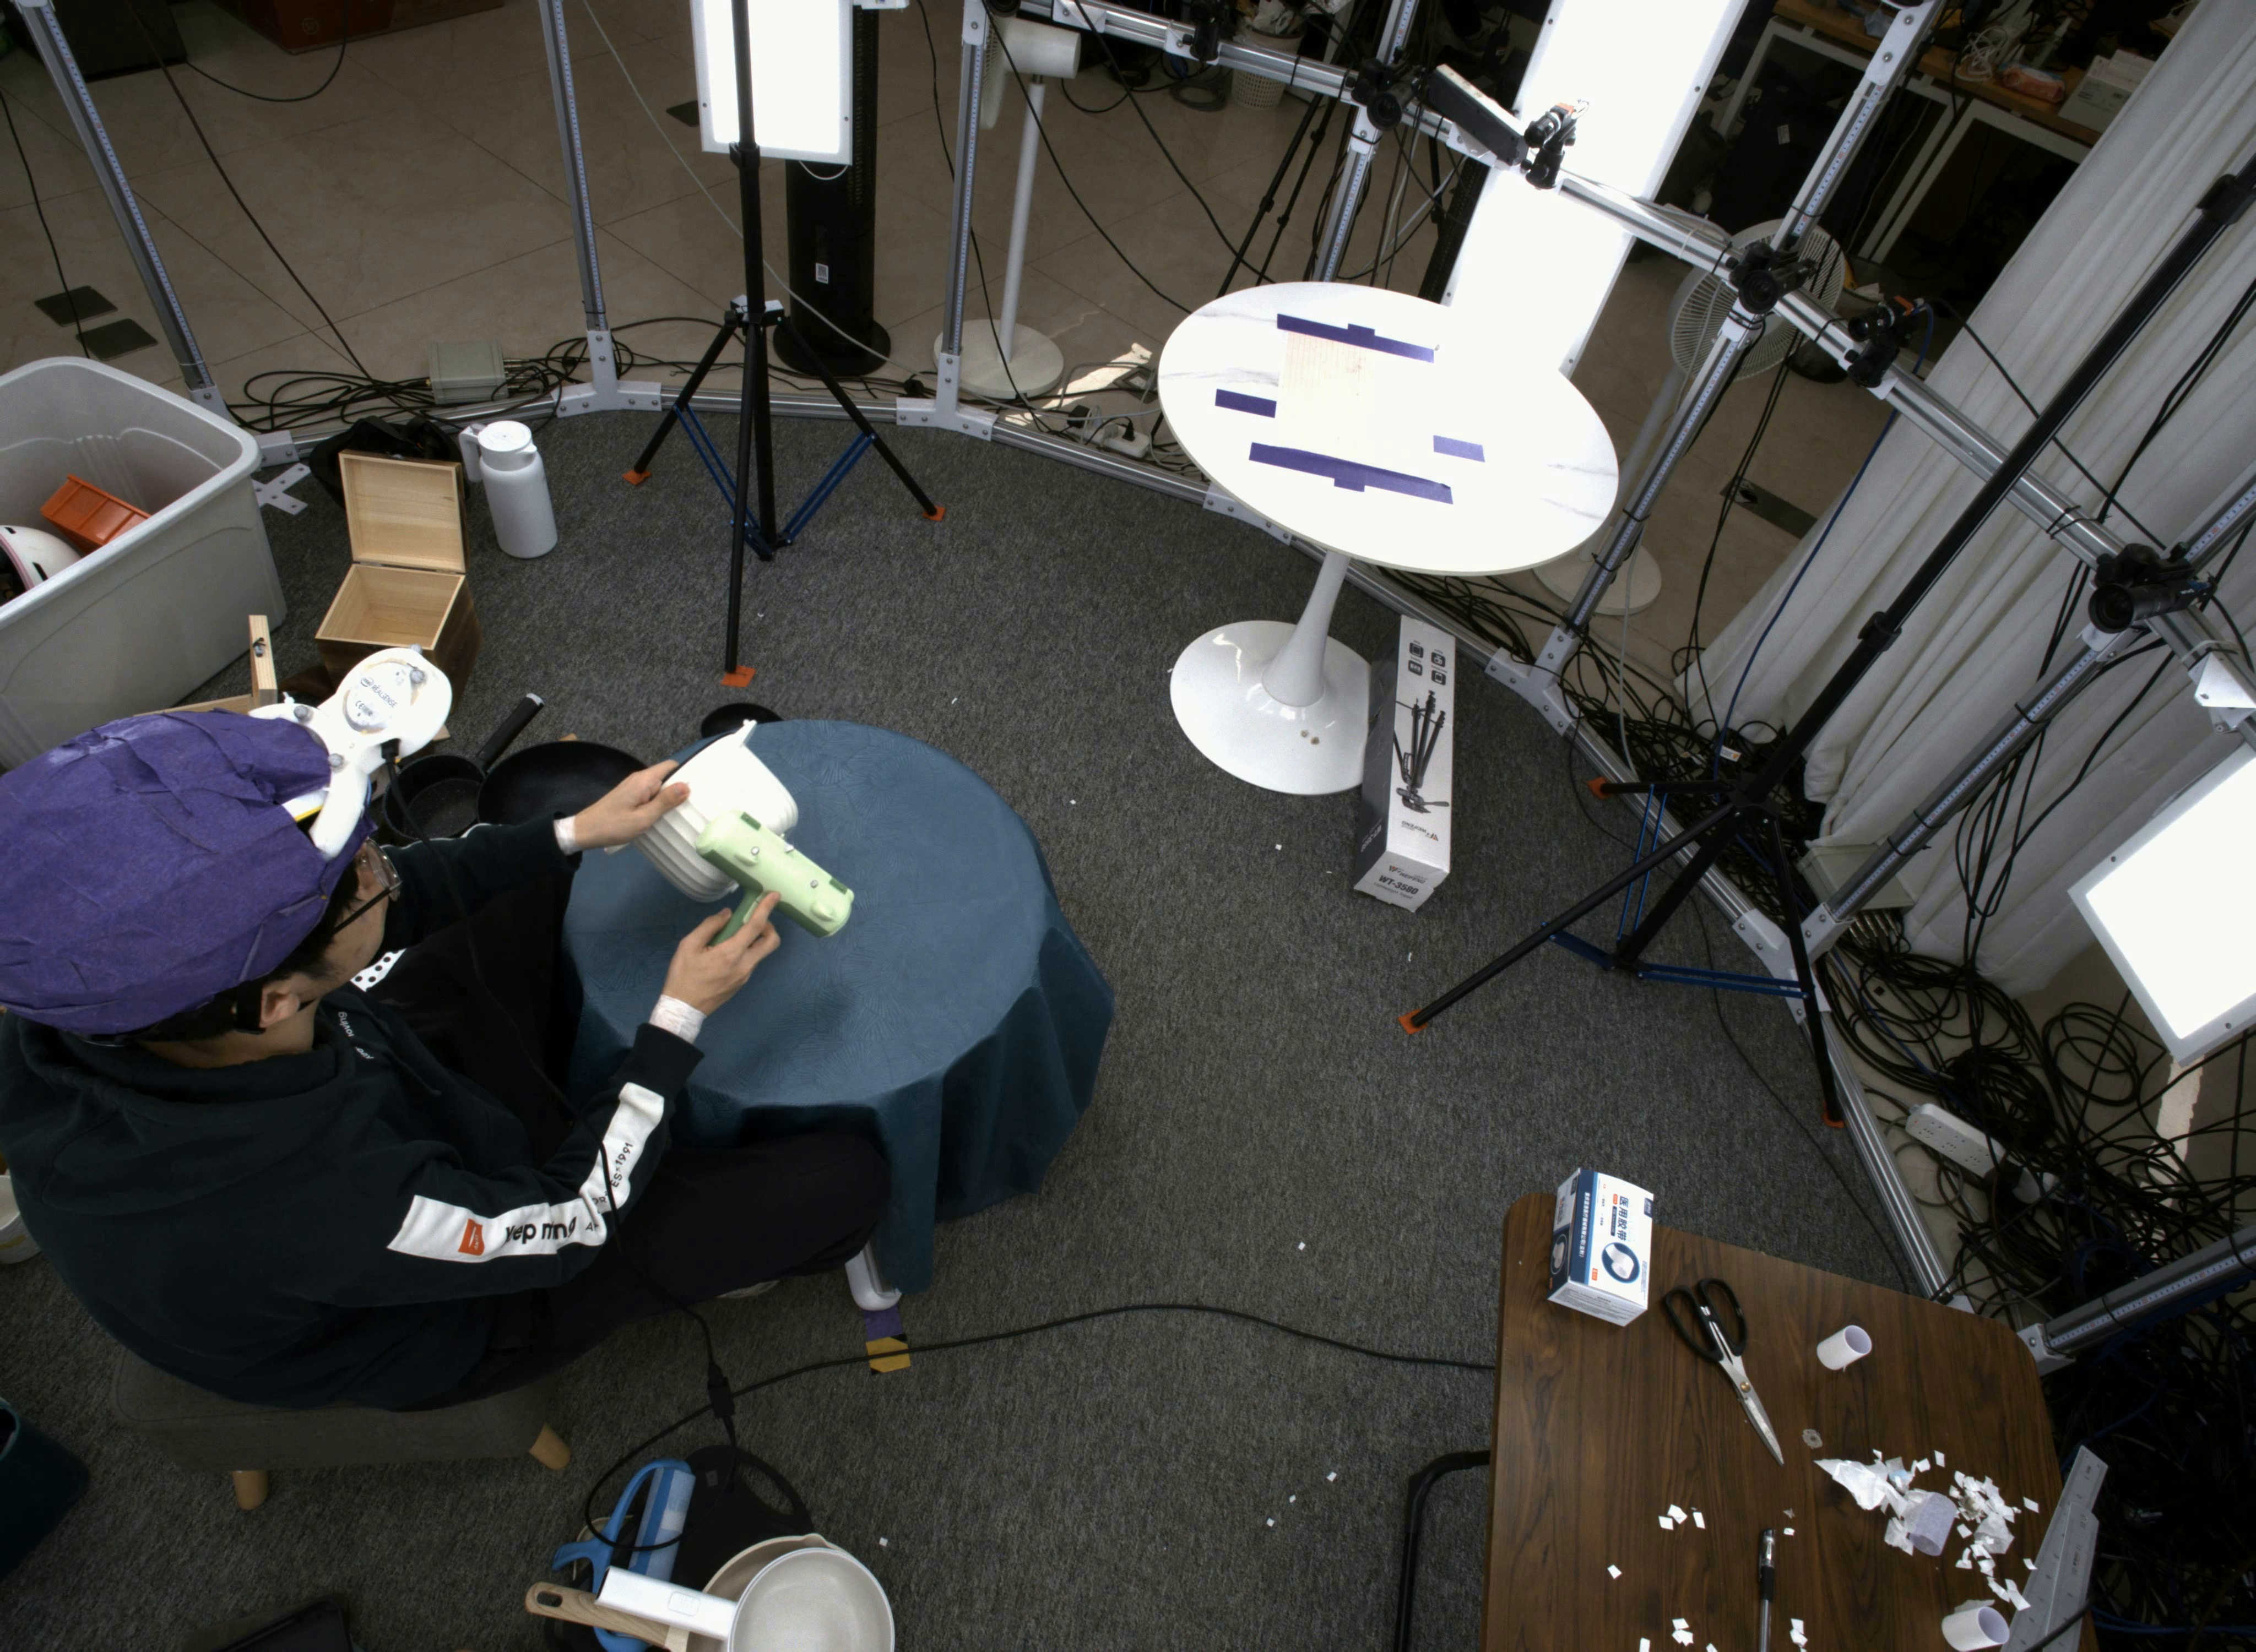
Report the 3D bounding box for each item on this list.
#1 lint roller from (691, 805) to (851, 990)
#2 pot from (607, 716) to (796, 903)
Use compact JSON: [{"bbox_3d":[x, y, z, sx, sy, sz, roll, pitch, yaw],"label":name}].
[{"bbox_3d":[-0.422,0.103,1.450,0.079,0.206,0.183,5,60,44],"label":"lint roller"},{"bbox_3d":[-0.498,-0.004,1.558,0.240,0.188,0.144,-45,98,-16],"label":"pot"}]
